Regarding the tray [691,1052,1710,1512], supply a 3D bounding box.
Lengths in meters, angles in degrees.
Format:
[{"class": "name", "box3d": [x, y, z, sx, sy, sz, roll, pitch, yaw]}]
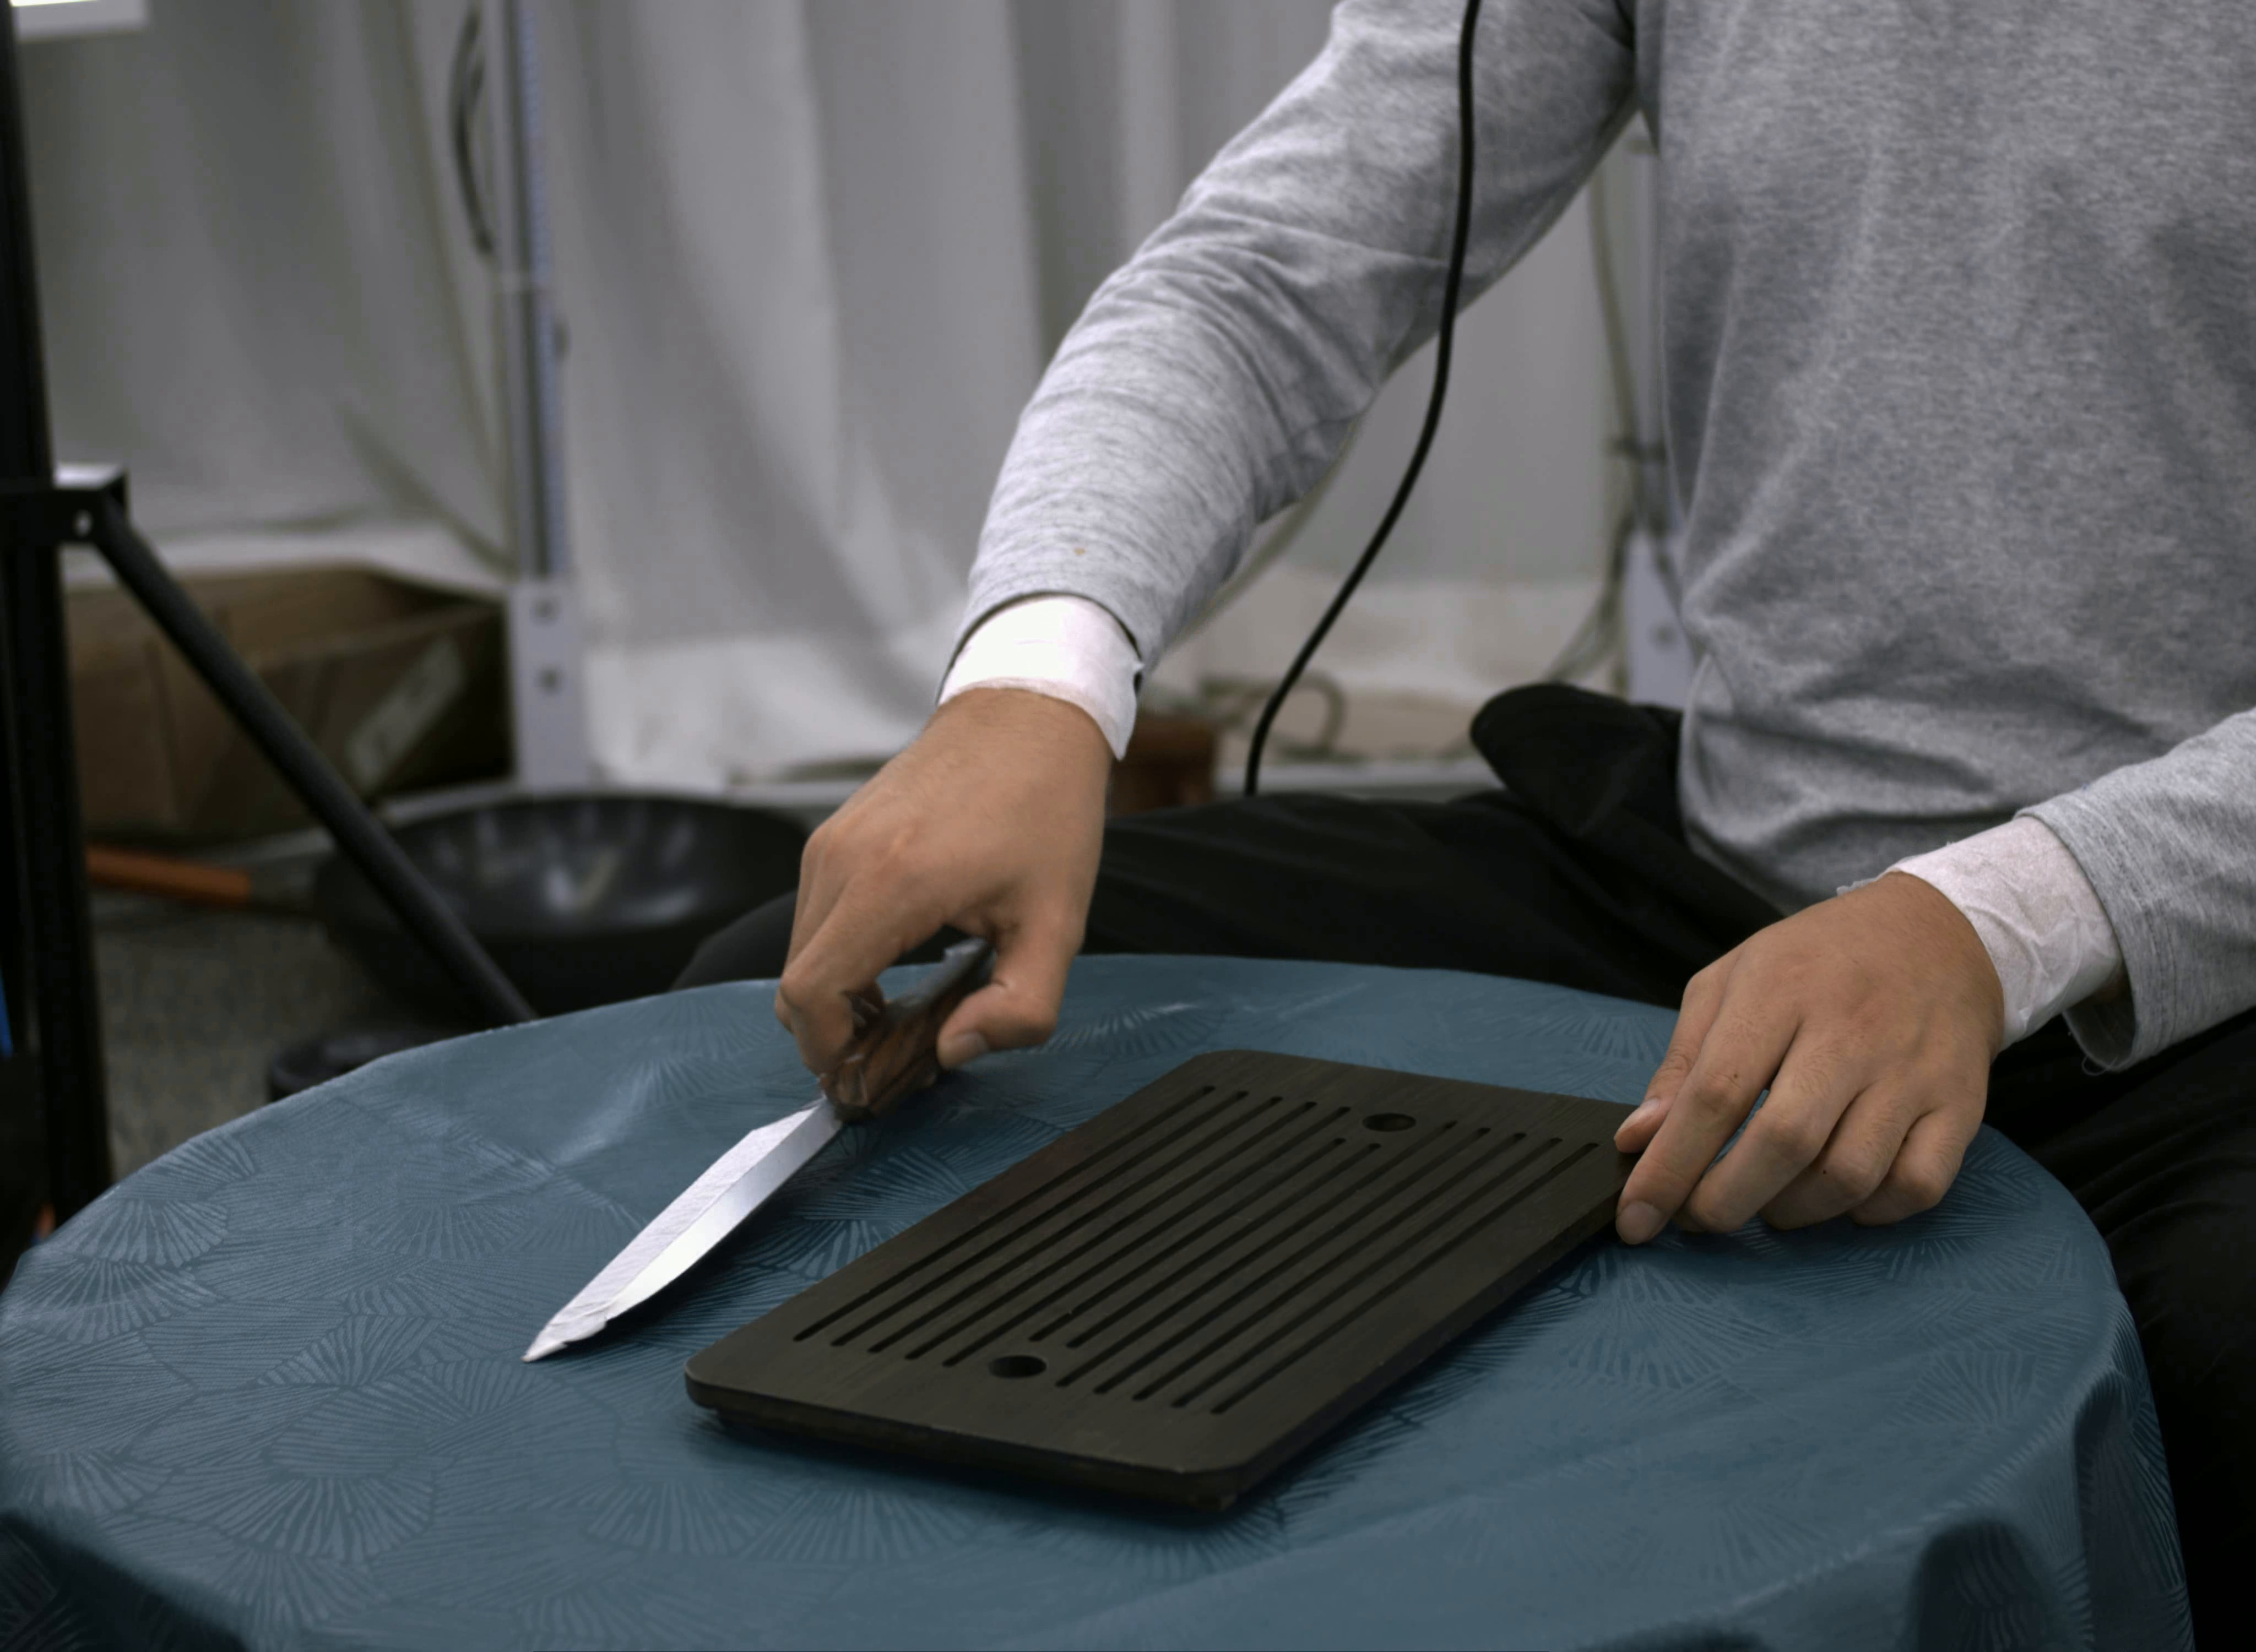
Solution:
[{"class": "tray", "box3d": [0.028, 0.123, 1.474, 0.173, 0.018, 0.300, 7, 18, 30]}]

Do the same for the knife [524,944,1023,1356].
[{"class": "knife", "box3d": [-0.100, 0.095, 1.569, 0.051, 0.020, 0.285, -15, 13, 31]}]
